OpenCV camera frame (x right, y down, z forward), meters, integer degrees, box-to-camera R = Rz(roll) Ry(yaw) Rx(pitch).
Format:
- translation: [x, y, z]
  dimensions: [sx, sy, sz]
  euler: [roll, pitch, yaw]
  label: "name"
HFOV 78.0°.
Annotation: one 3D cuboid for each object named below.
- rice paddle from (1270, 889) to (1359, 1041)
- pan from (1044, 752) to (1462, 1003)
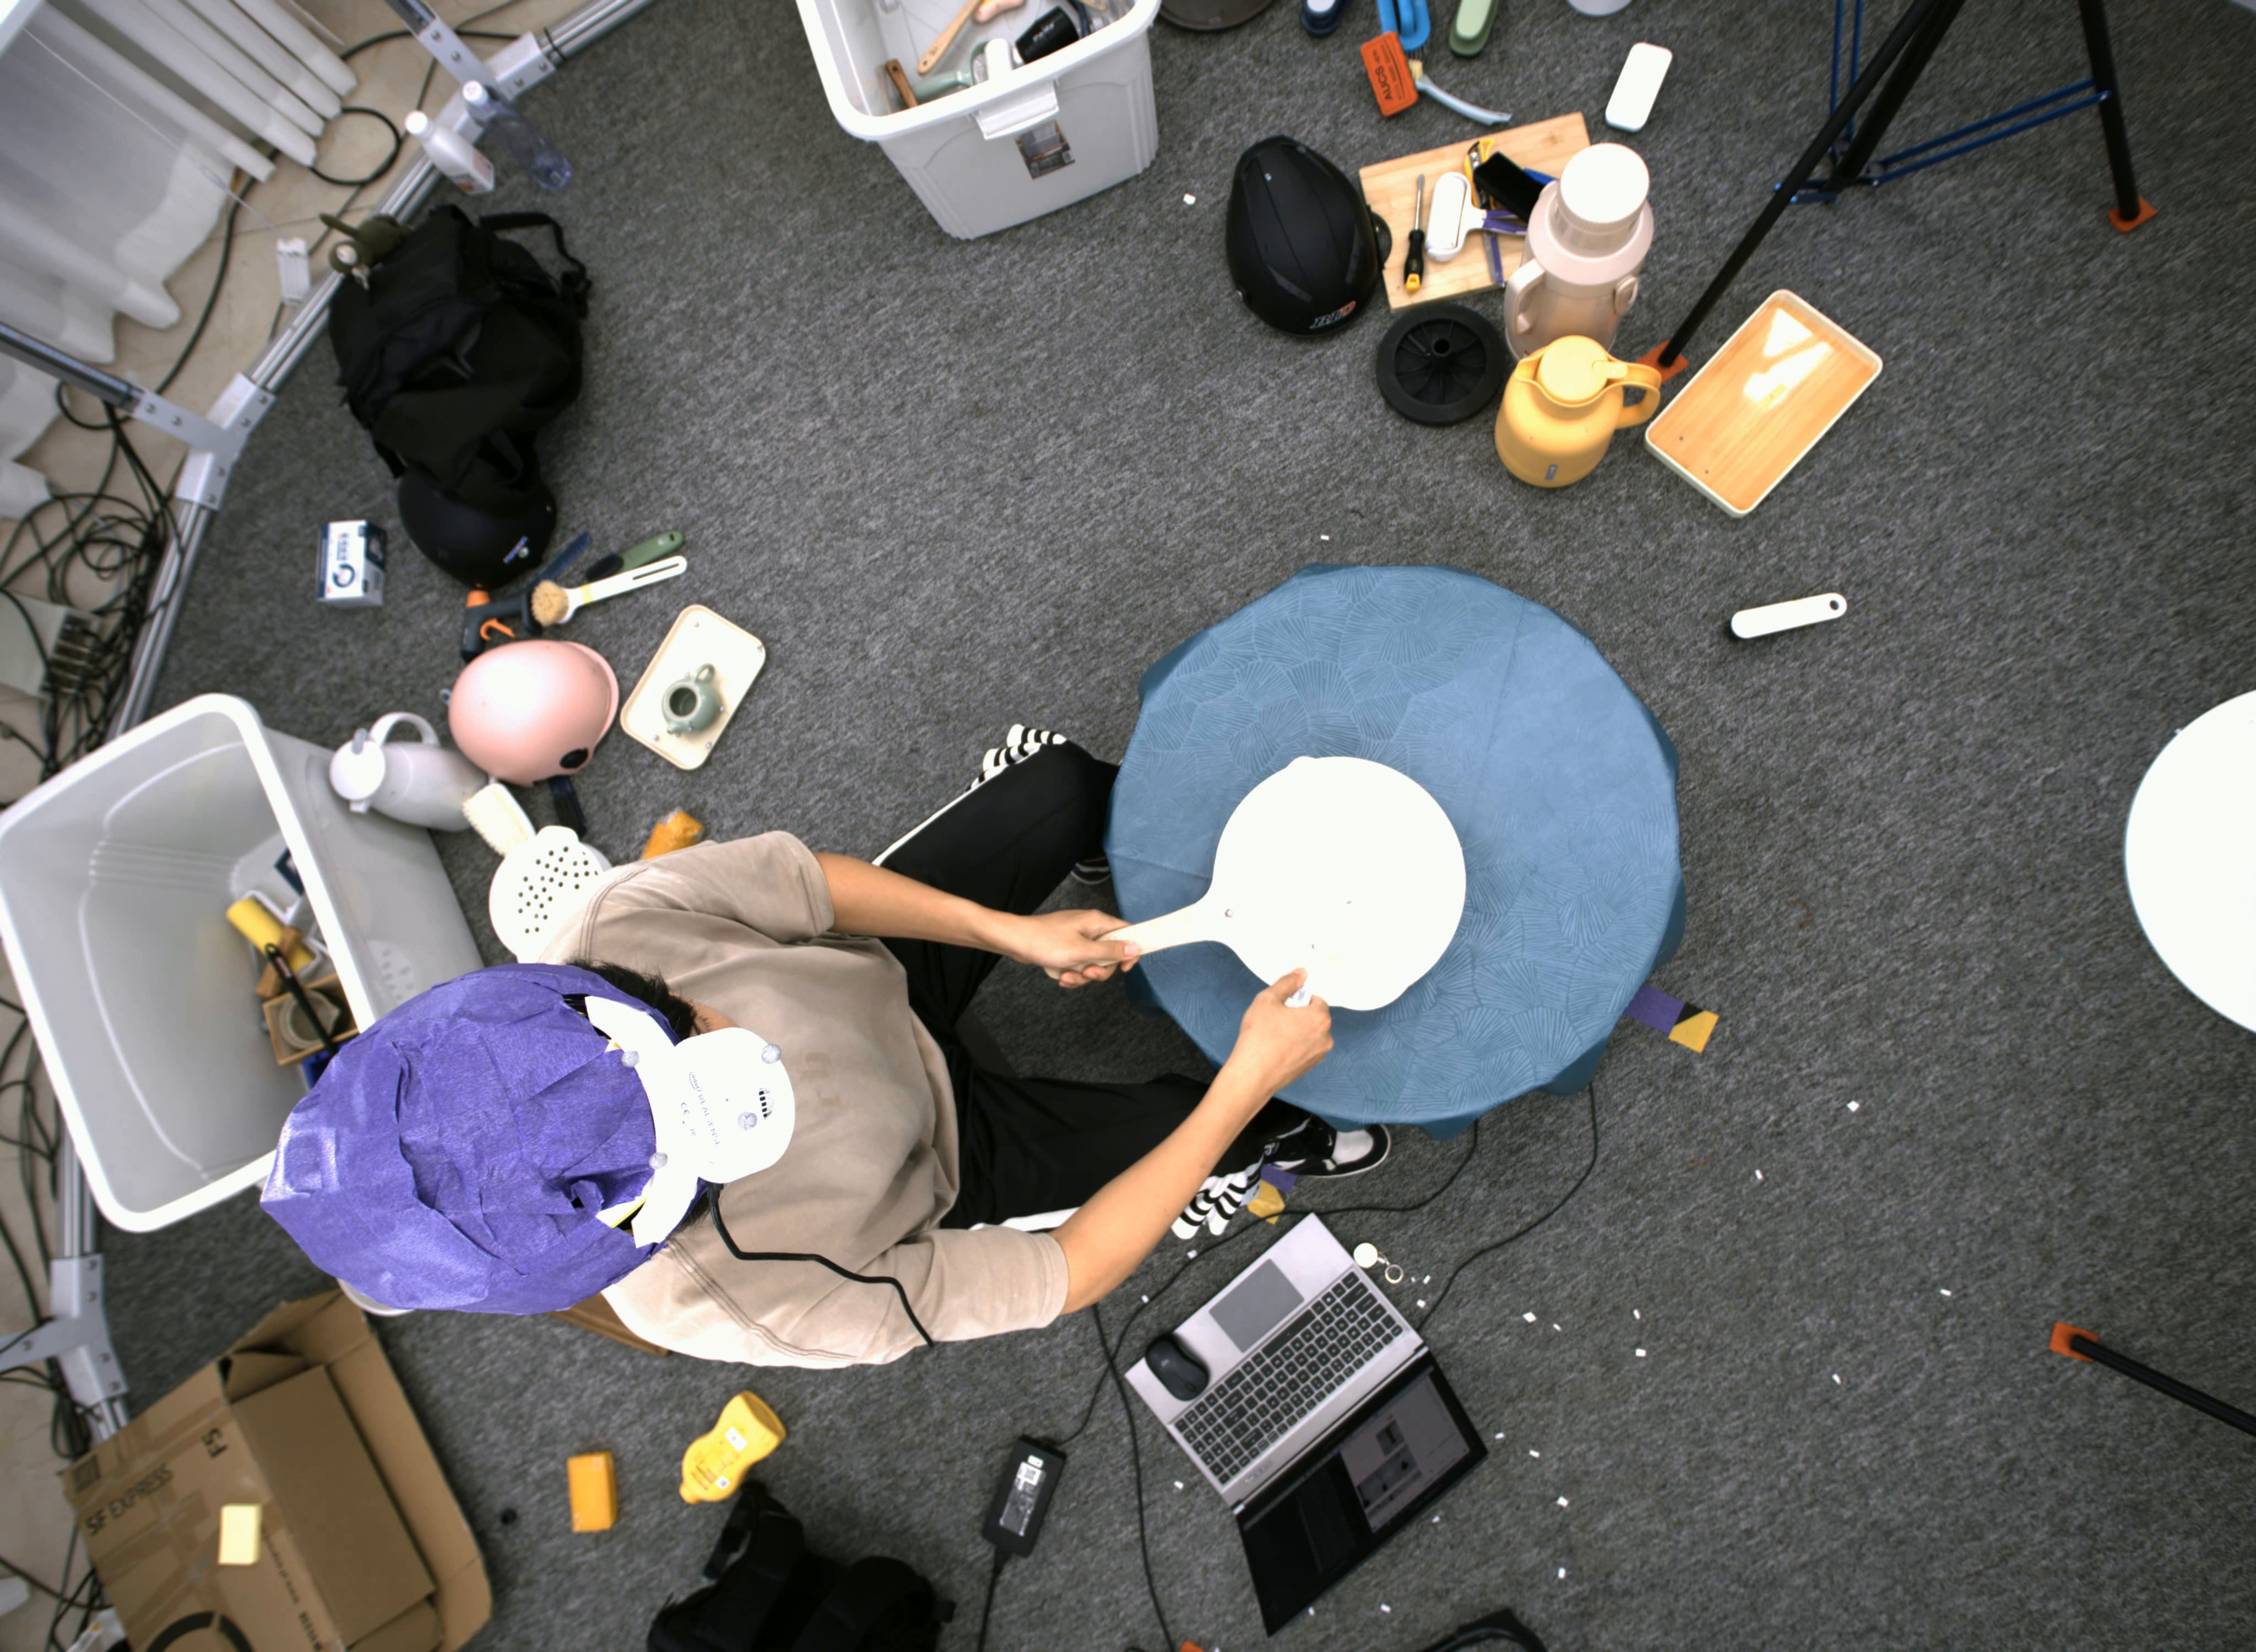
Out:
- translation: [0.185, 0.131, 1.393]
  dimensions: [0.069, 0.030, 0.200]
  euler: [22, 47, 8]
  label: "rice paddle"
- translation: [0.127, 0.080, 1.436]
  dimensions: [0.437, 0.102, 0.262]
  euler: [-18, 85, 8]
  label: "pan"
